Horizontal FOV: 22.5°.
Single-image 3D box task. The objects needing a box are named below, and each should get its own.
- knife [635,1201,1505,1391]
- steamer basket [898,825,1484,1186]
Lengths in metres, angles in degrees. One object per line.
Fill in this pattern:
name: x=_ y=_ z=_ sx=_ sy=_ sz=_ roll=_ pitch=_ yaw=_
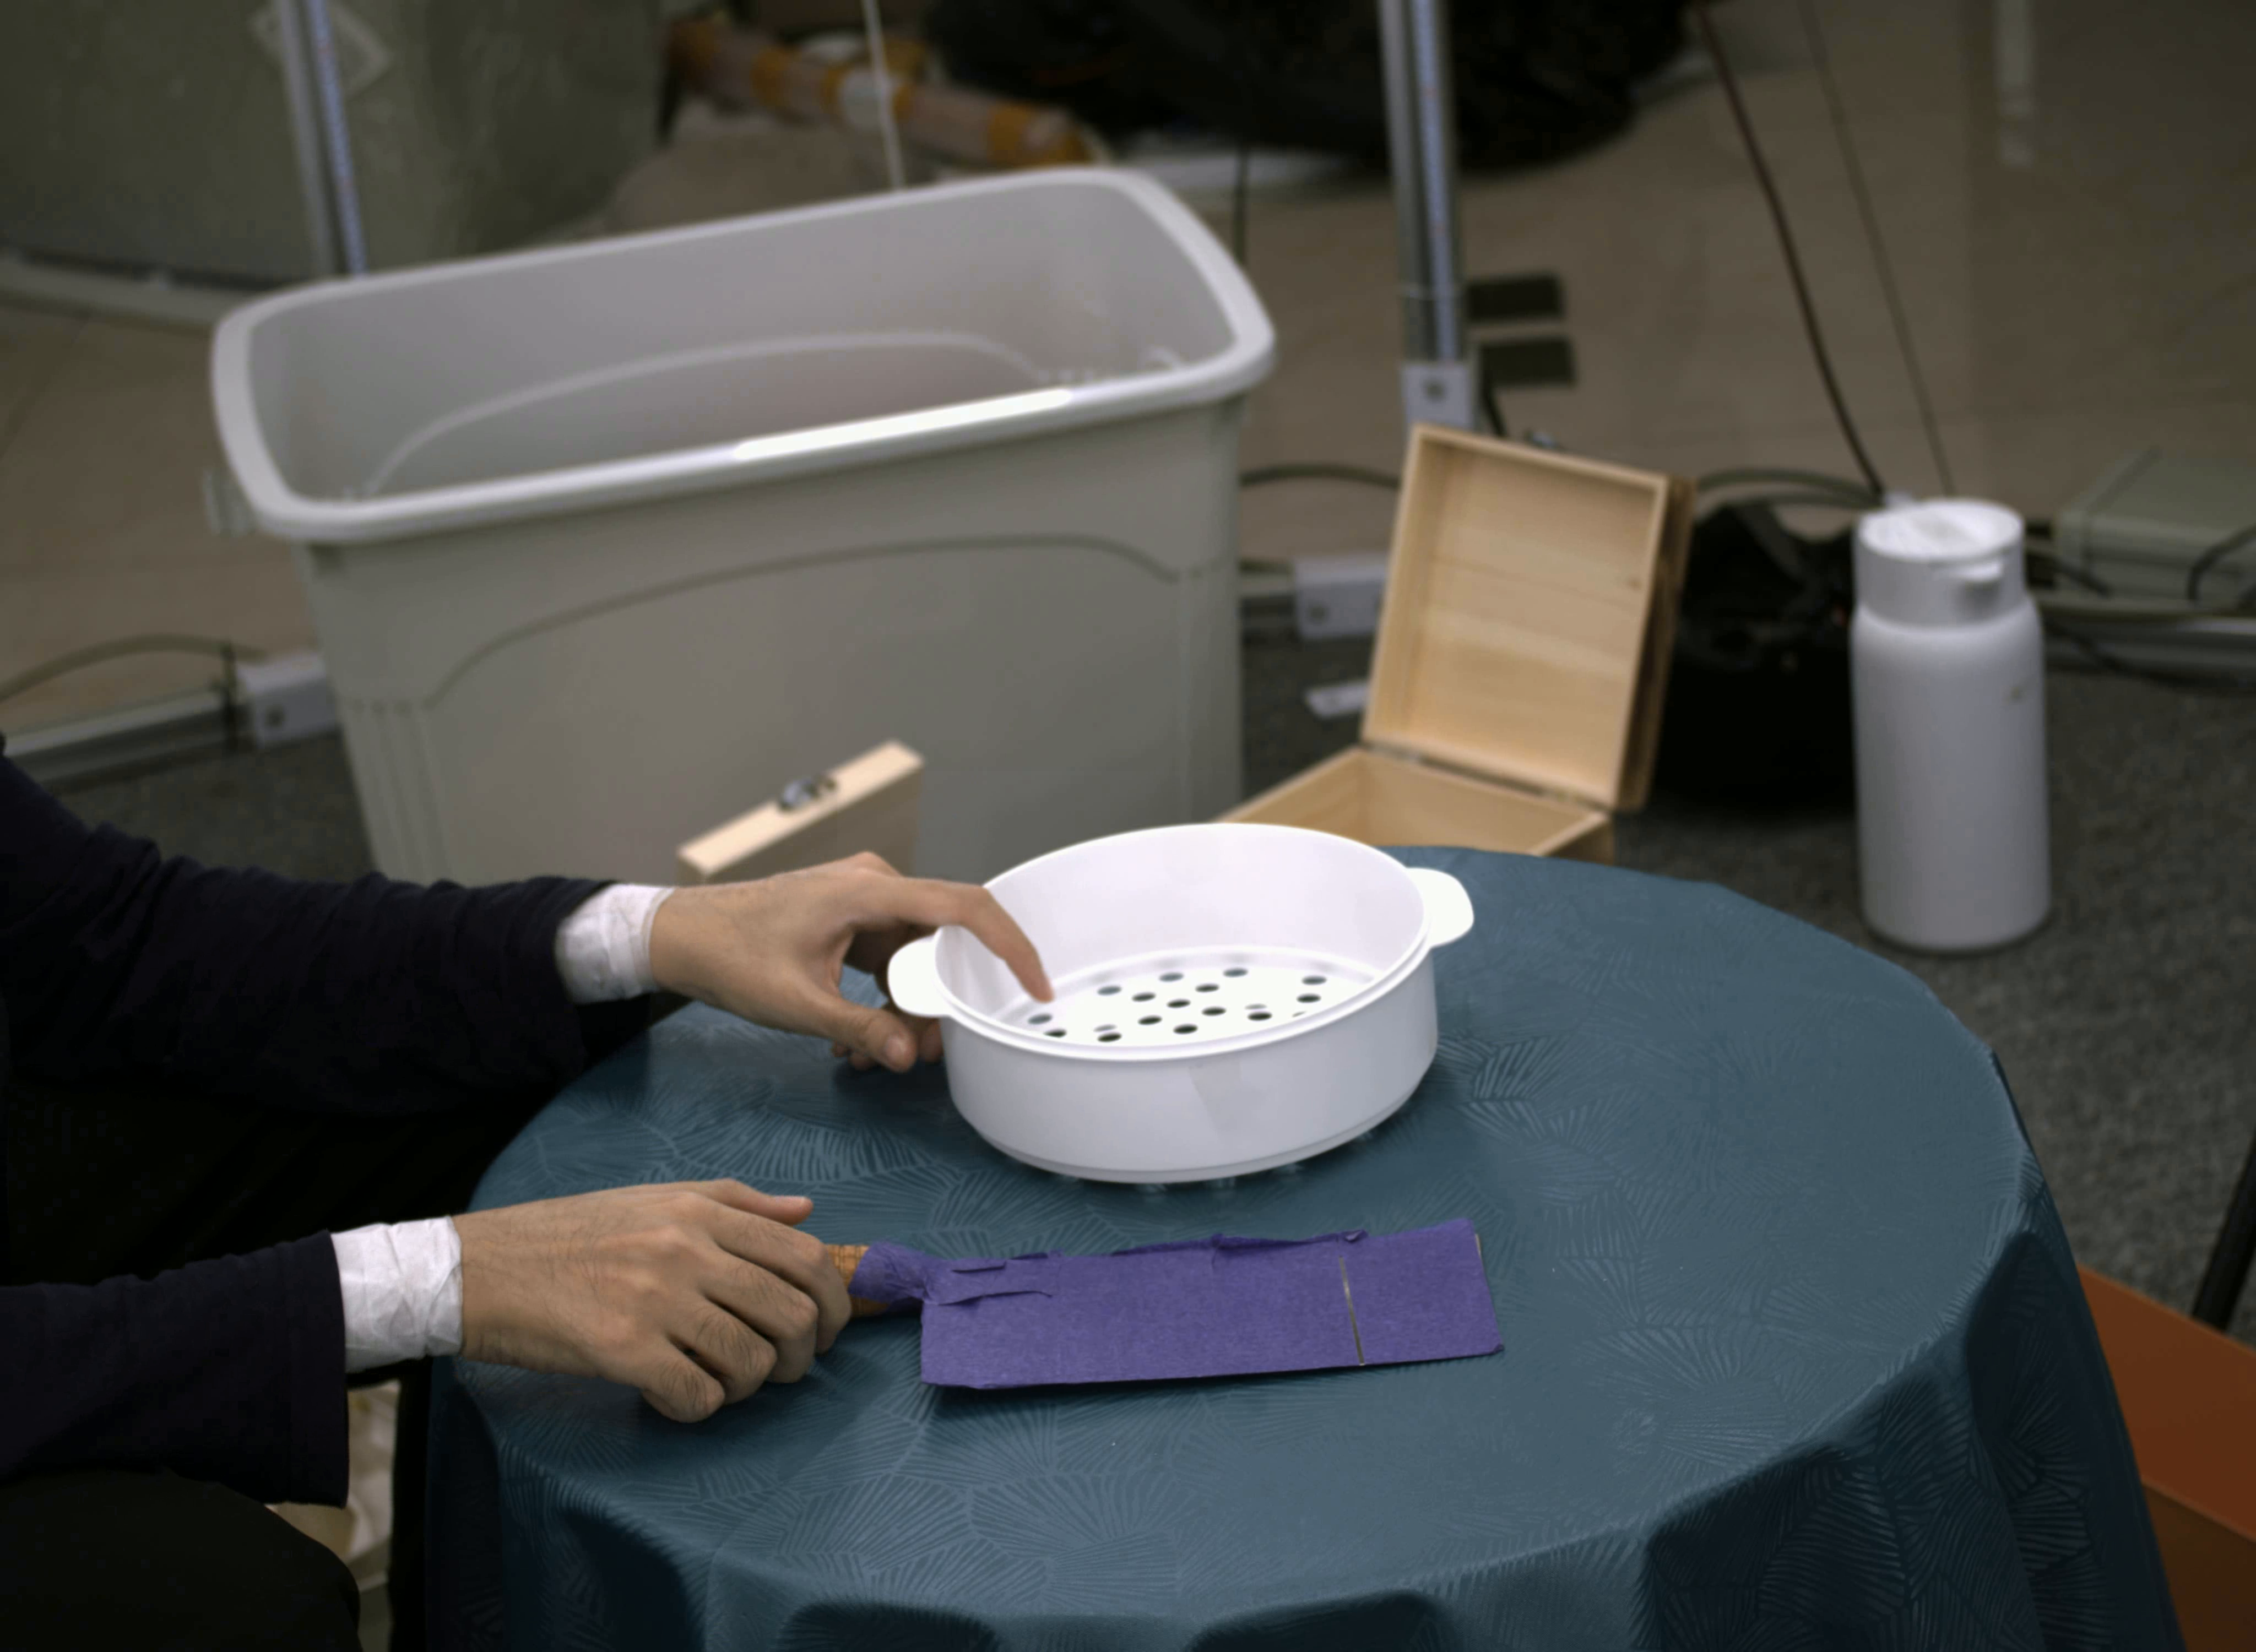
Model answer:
knife: x=-0.023 y=0.173 z=2.052 sx=0.315 sy=0.033 sz=0.102 roll=-6 pitch=24 yaw=0
steamer basket: x=0.028 y=0.070 z=2.214 sx=0.230 sy=0.070 sz=0.199 roll=-10 pitch=24 yaw=-1
